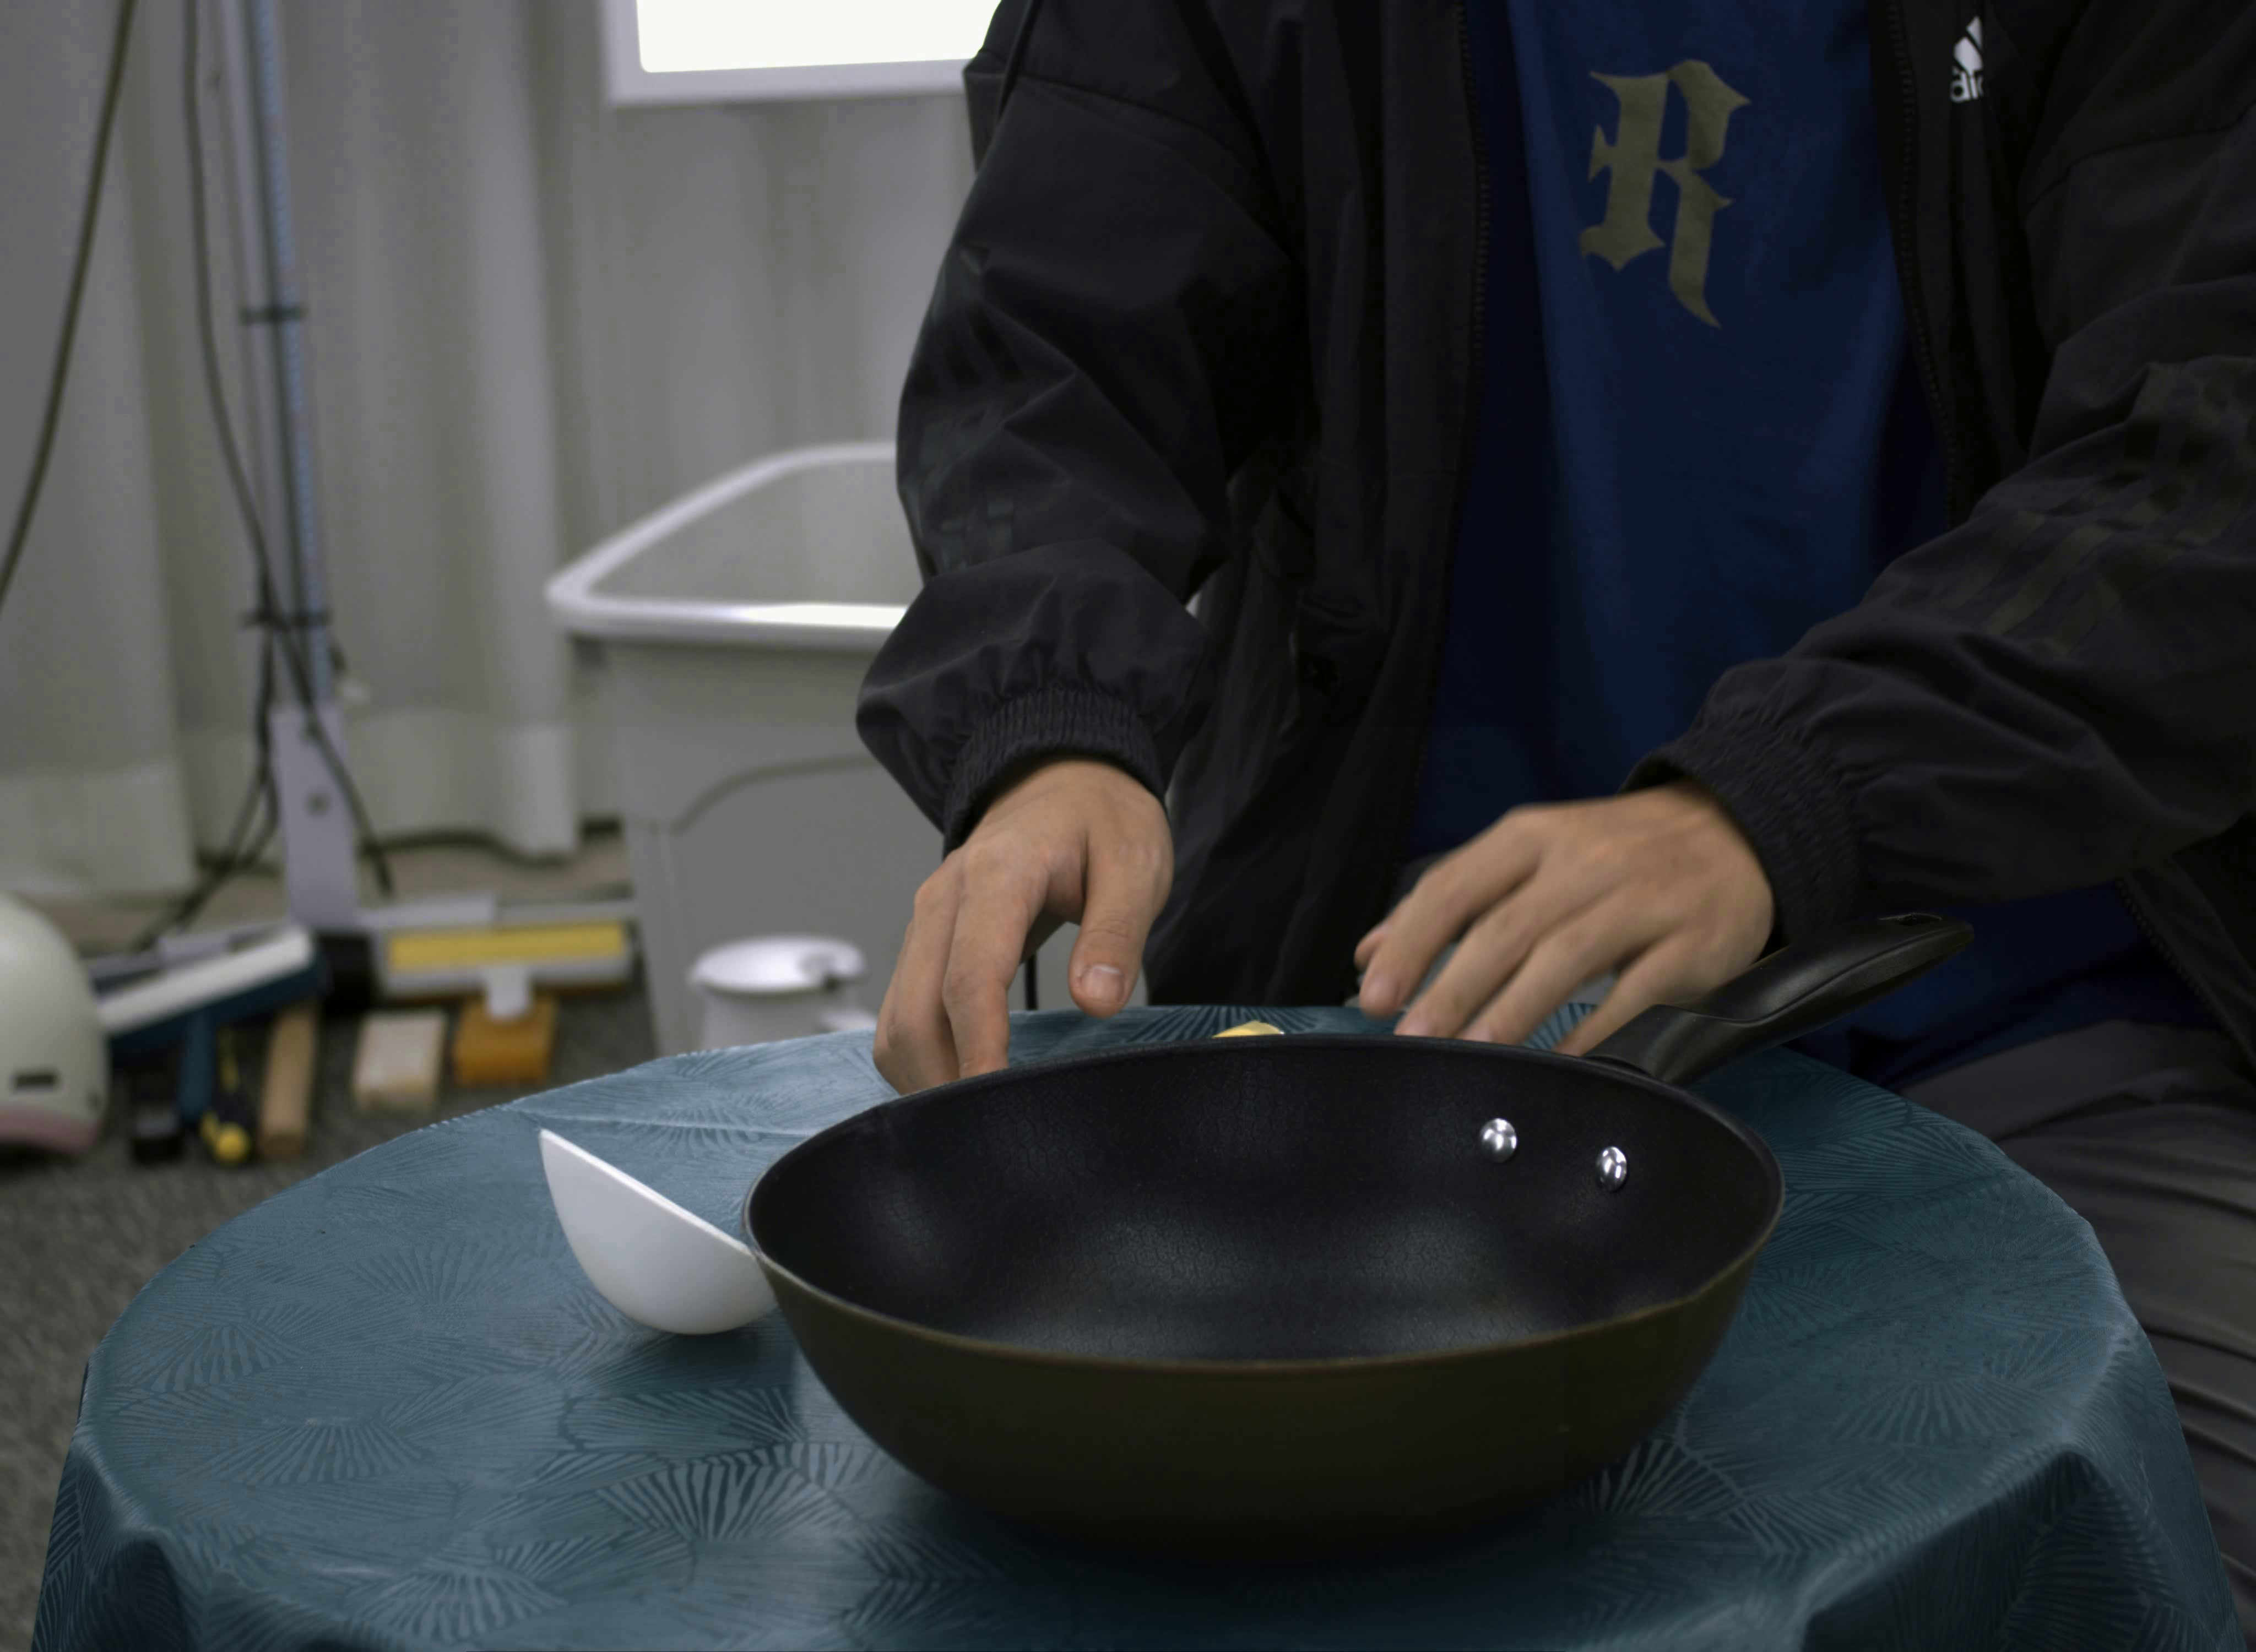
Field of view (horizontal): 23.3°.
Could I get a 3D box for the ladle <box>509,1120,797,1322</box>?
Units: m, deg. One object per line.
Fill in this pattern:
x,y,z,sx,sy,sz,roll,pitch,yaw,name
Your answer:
-0.056,0.098,1.669,0.292,0.070,0.090,-11,15,-39,ladle

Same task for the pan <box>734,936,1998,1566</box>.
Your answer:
0.097,0.114,1.536,0.289,0.086,0.462,11,19,42,pan
